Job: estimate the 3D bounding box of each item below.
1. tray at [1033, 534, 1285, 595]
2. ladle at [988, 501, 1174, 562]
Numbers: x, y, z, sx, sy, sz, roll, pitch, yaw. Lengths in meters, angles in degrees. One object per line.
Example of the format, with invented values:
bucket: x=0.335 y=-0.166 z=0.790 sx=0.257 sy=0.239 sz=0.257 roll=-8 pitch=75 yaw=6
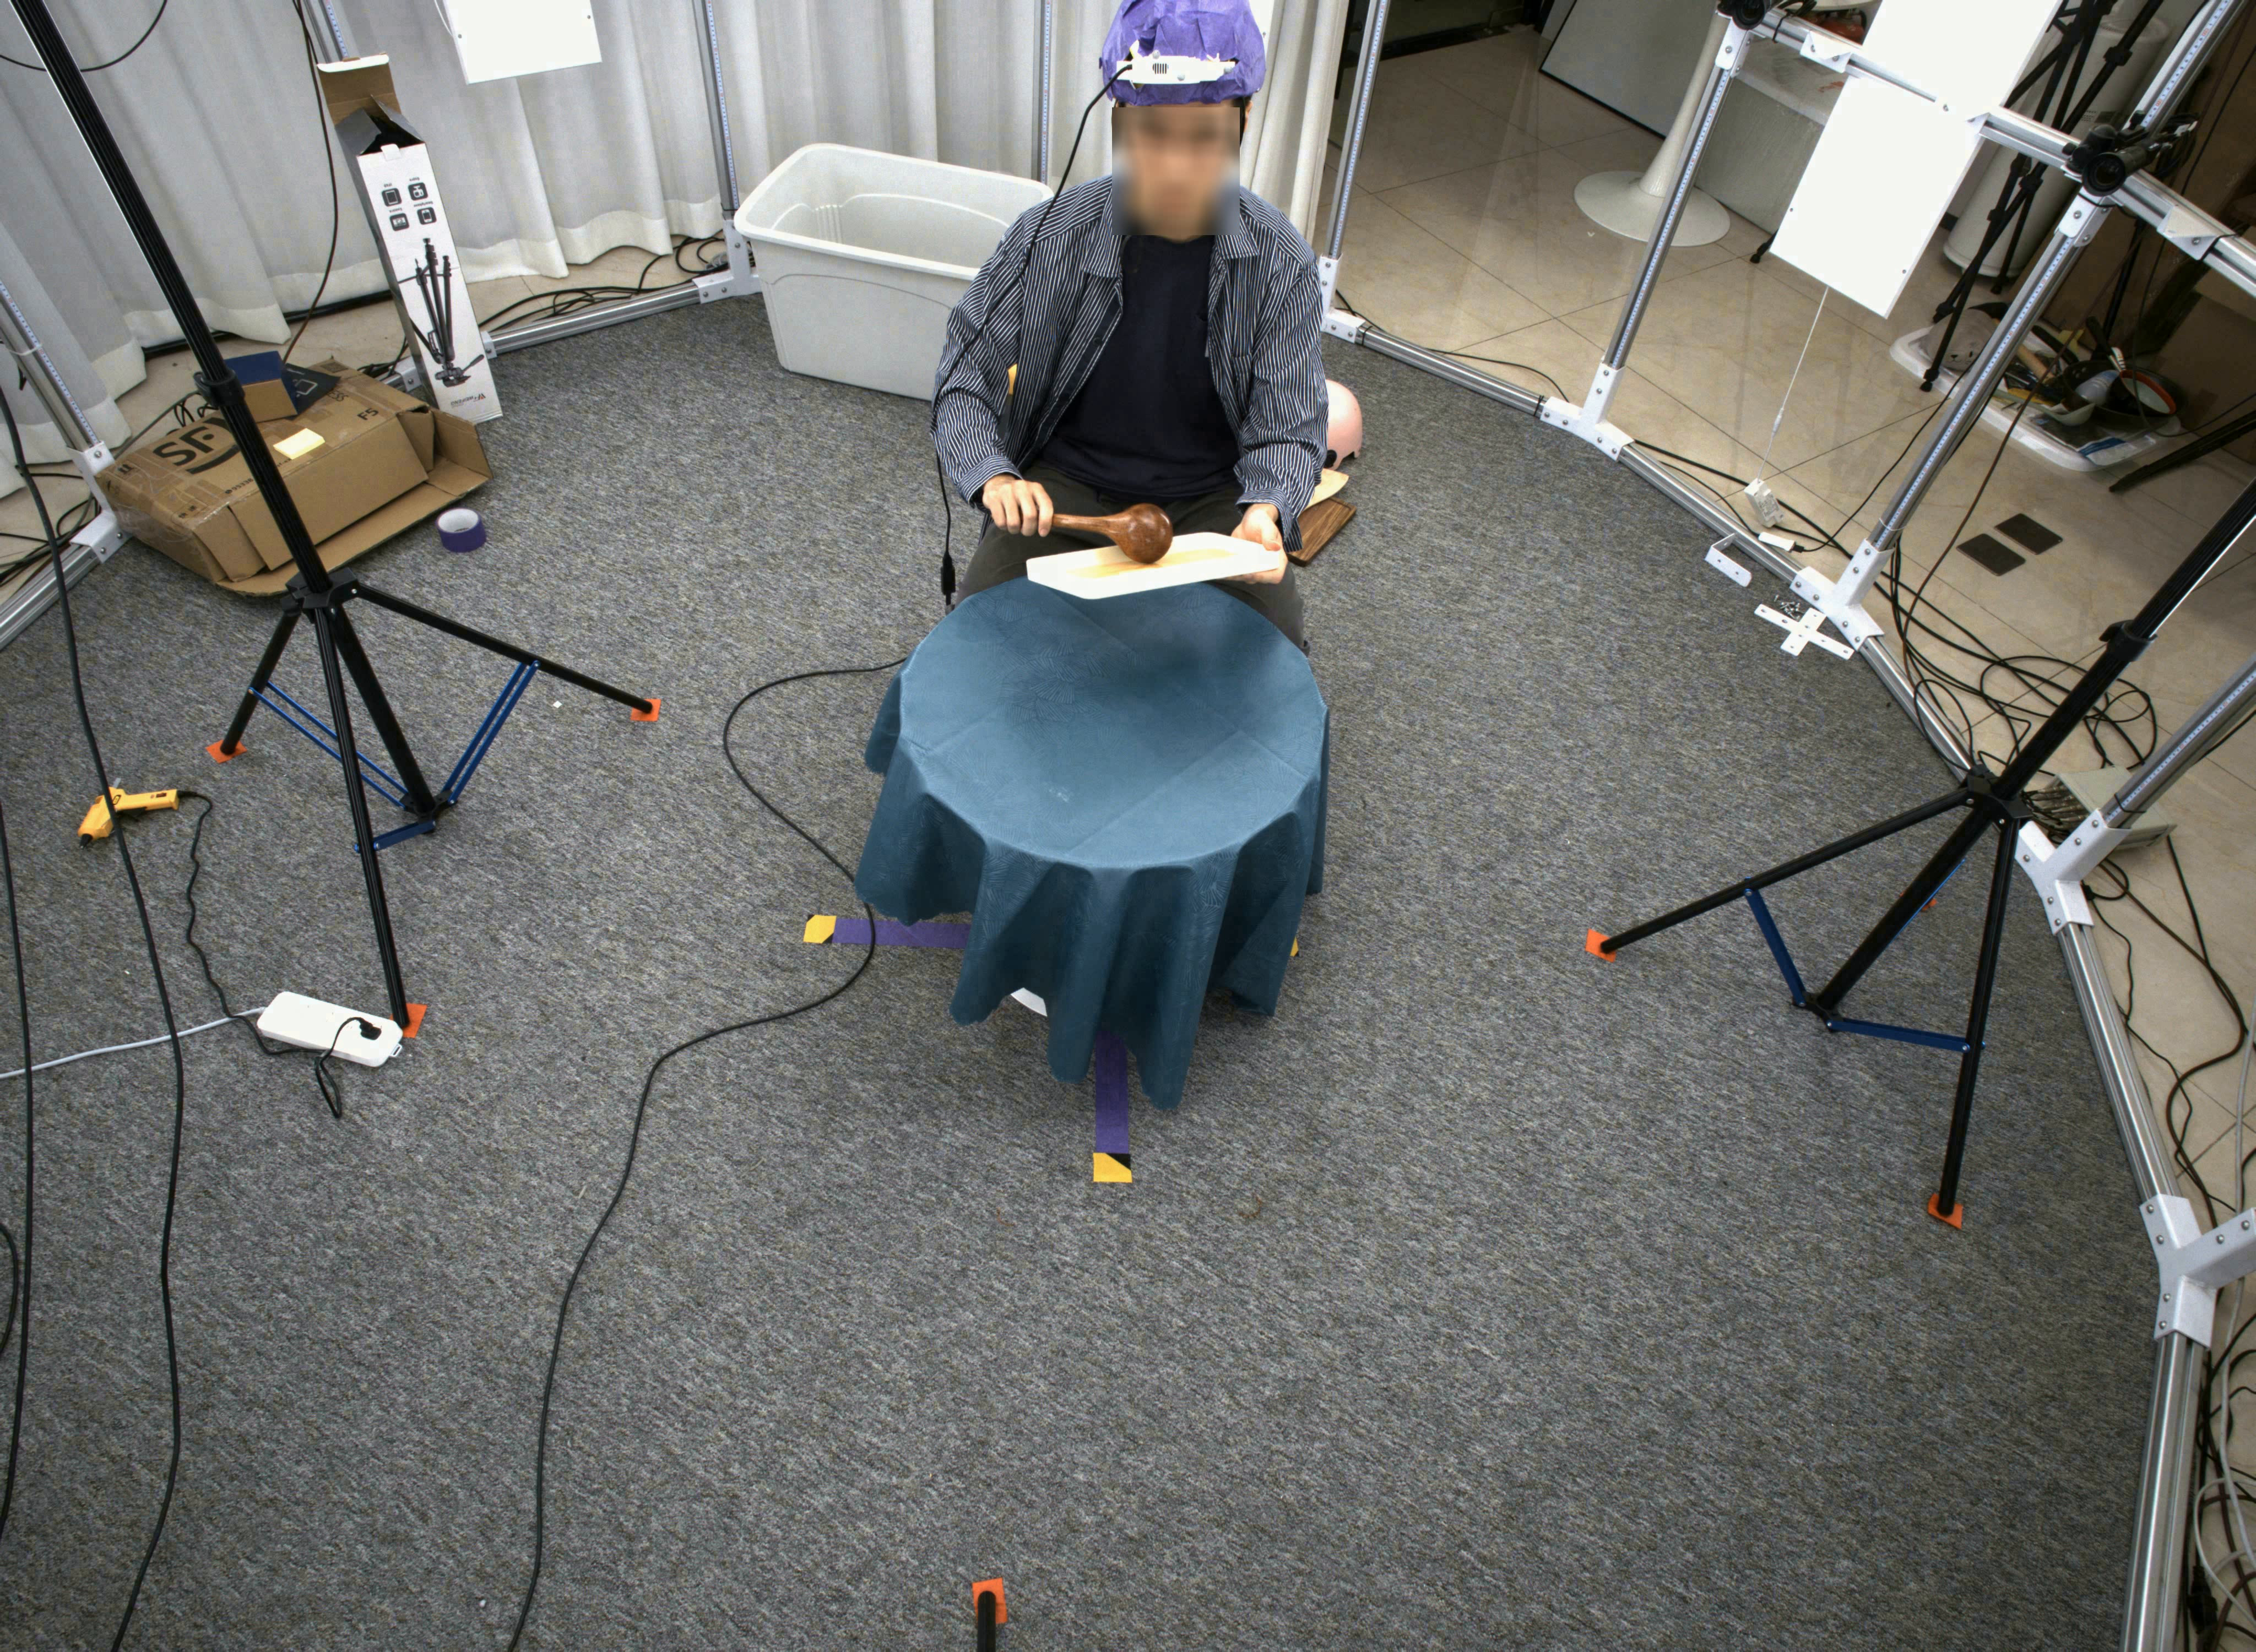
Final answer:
tray: x=0.042 y=-0.354 z=1.732 sx=0.300 sy=0.027 sz=0.194 roll=-14 pitch=23 yaw=-26
ladle: x=-0.065 y=-0.422 z=1.814 sx=0.276 sy=0.076 sz=0.082 roll=11 pitch=85 yaw=31
